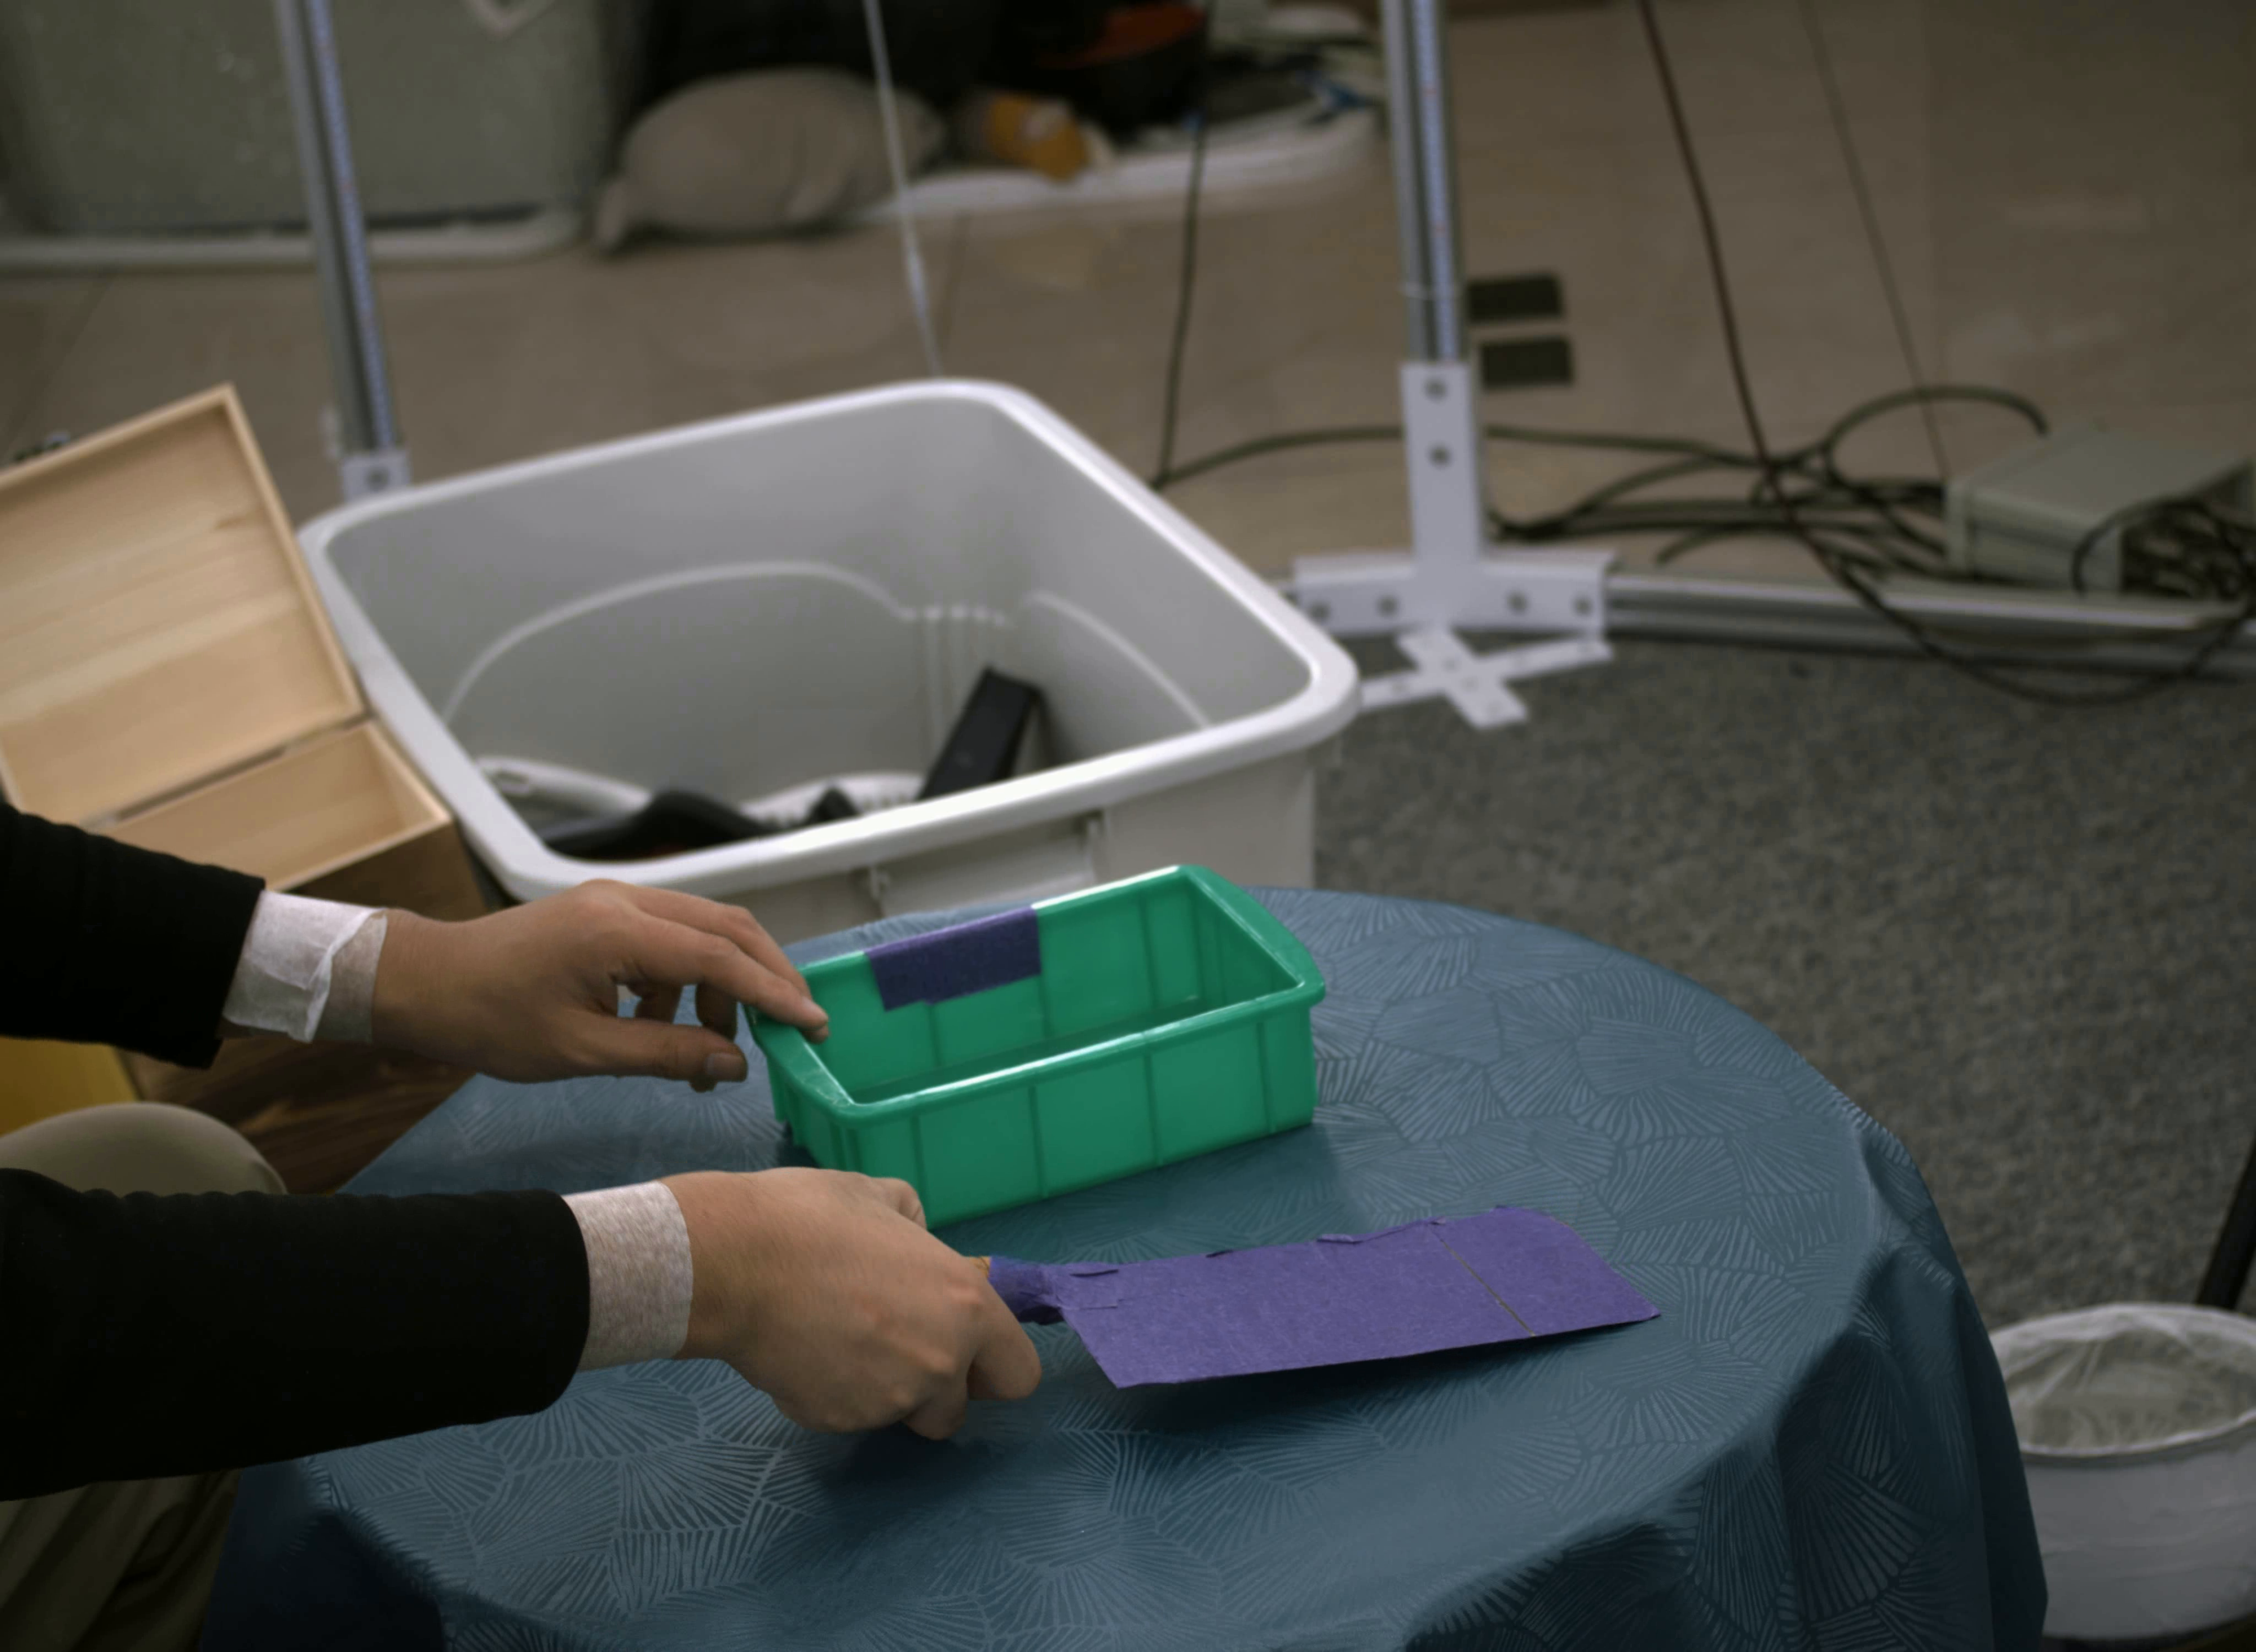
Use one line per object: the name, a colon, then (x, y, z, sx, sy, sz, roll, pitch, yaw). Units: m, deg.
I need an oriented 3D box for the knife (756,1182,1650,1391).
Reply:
knife: (0.030, 0.168, 2.011, 0.314, 0.032, 0.102, -8, 24, -19)

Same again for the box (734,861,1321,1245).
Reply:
box: (-0.037, 0.088, 2.191, 0.209, 0.066, 0.137, -17, 25, -17)
